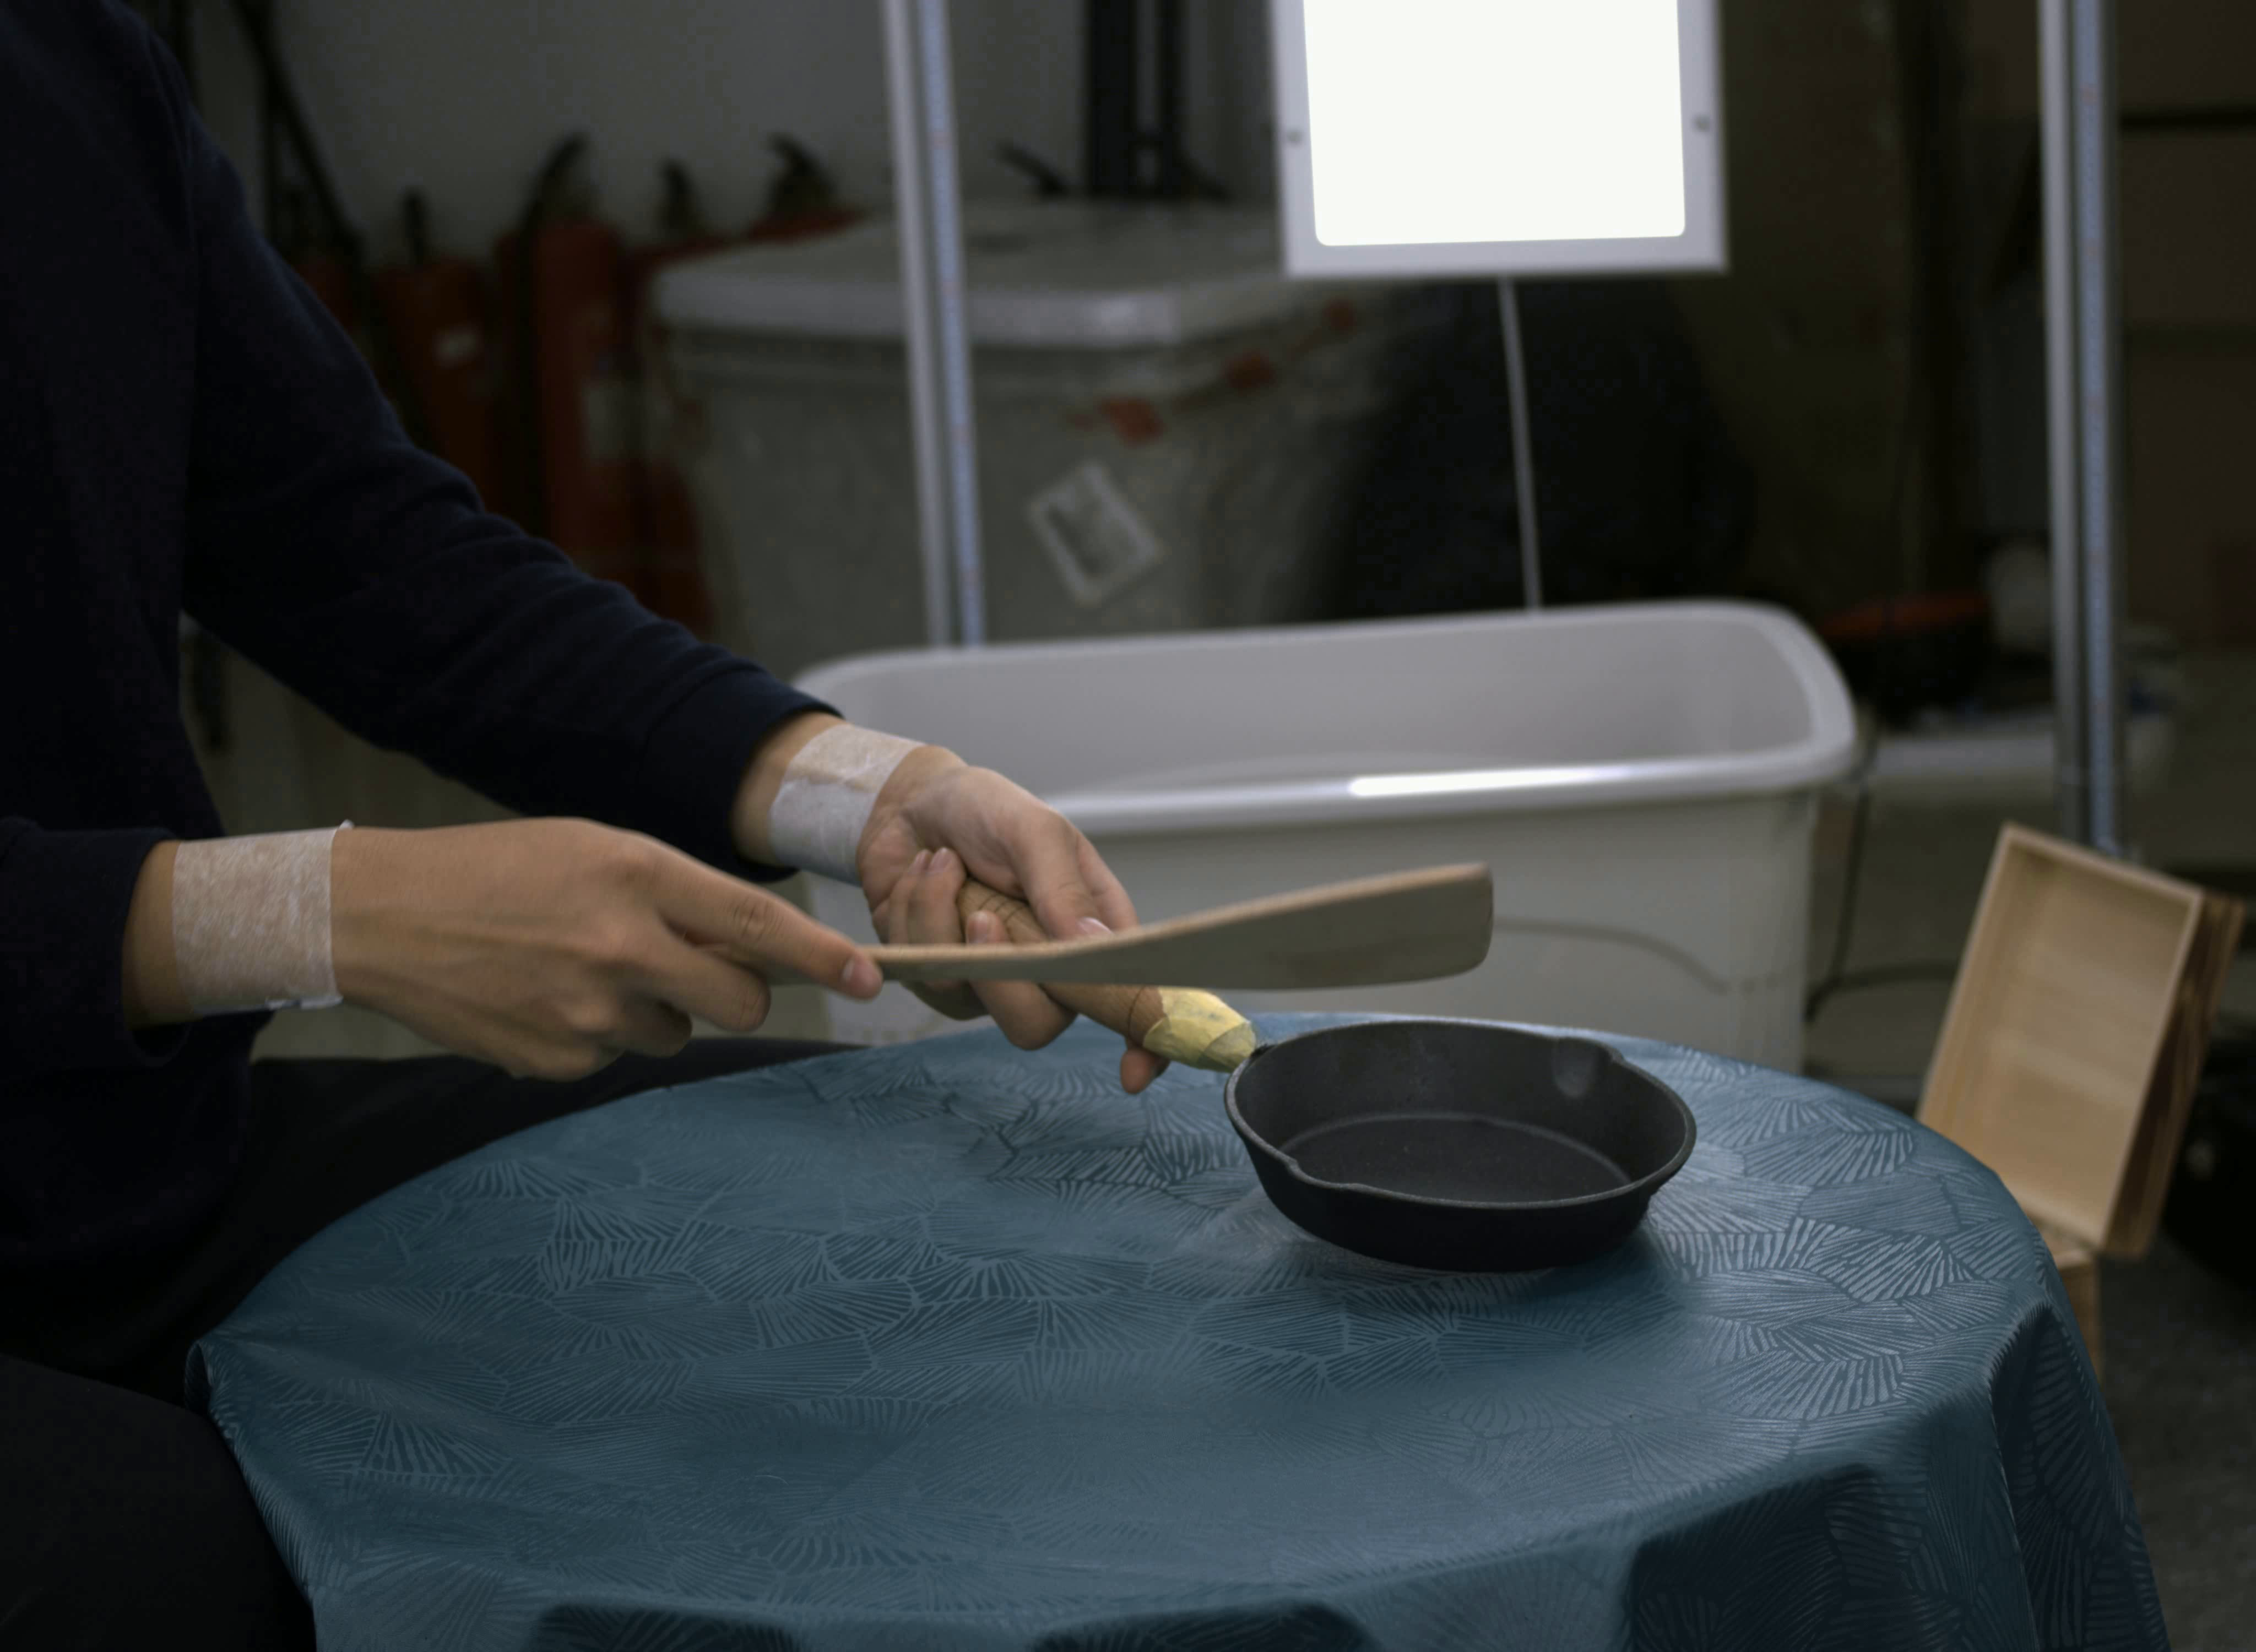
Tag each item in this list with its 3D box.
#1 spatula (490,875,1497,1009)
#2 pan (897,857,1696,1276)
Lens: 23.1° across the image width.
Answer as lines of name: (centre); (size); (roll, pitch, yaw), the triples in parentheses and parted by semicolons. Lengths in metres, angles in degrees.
spatula: (-0.042, 0.042, 1.713); (0.331, 0.016, 0.079); (-2, -22, 16)
pan: (0.045, 0.078, 1.874); (0.330, 0.050, 0.164); (21, 27, 37)
